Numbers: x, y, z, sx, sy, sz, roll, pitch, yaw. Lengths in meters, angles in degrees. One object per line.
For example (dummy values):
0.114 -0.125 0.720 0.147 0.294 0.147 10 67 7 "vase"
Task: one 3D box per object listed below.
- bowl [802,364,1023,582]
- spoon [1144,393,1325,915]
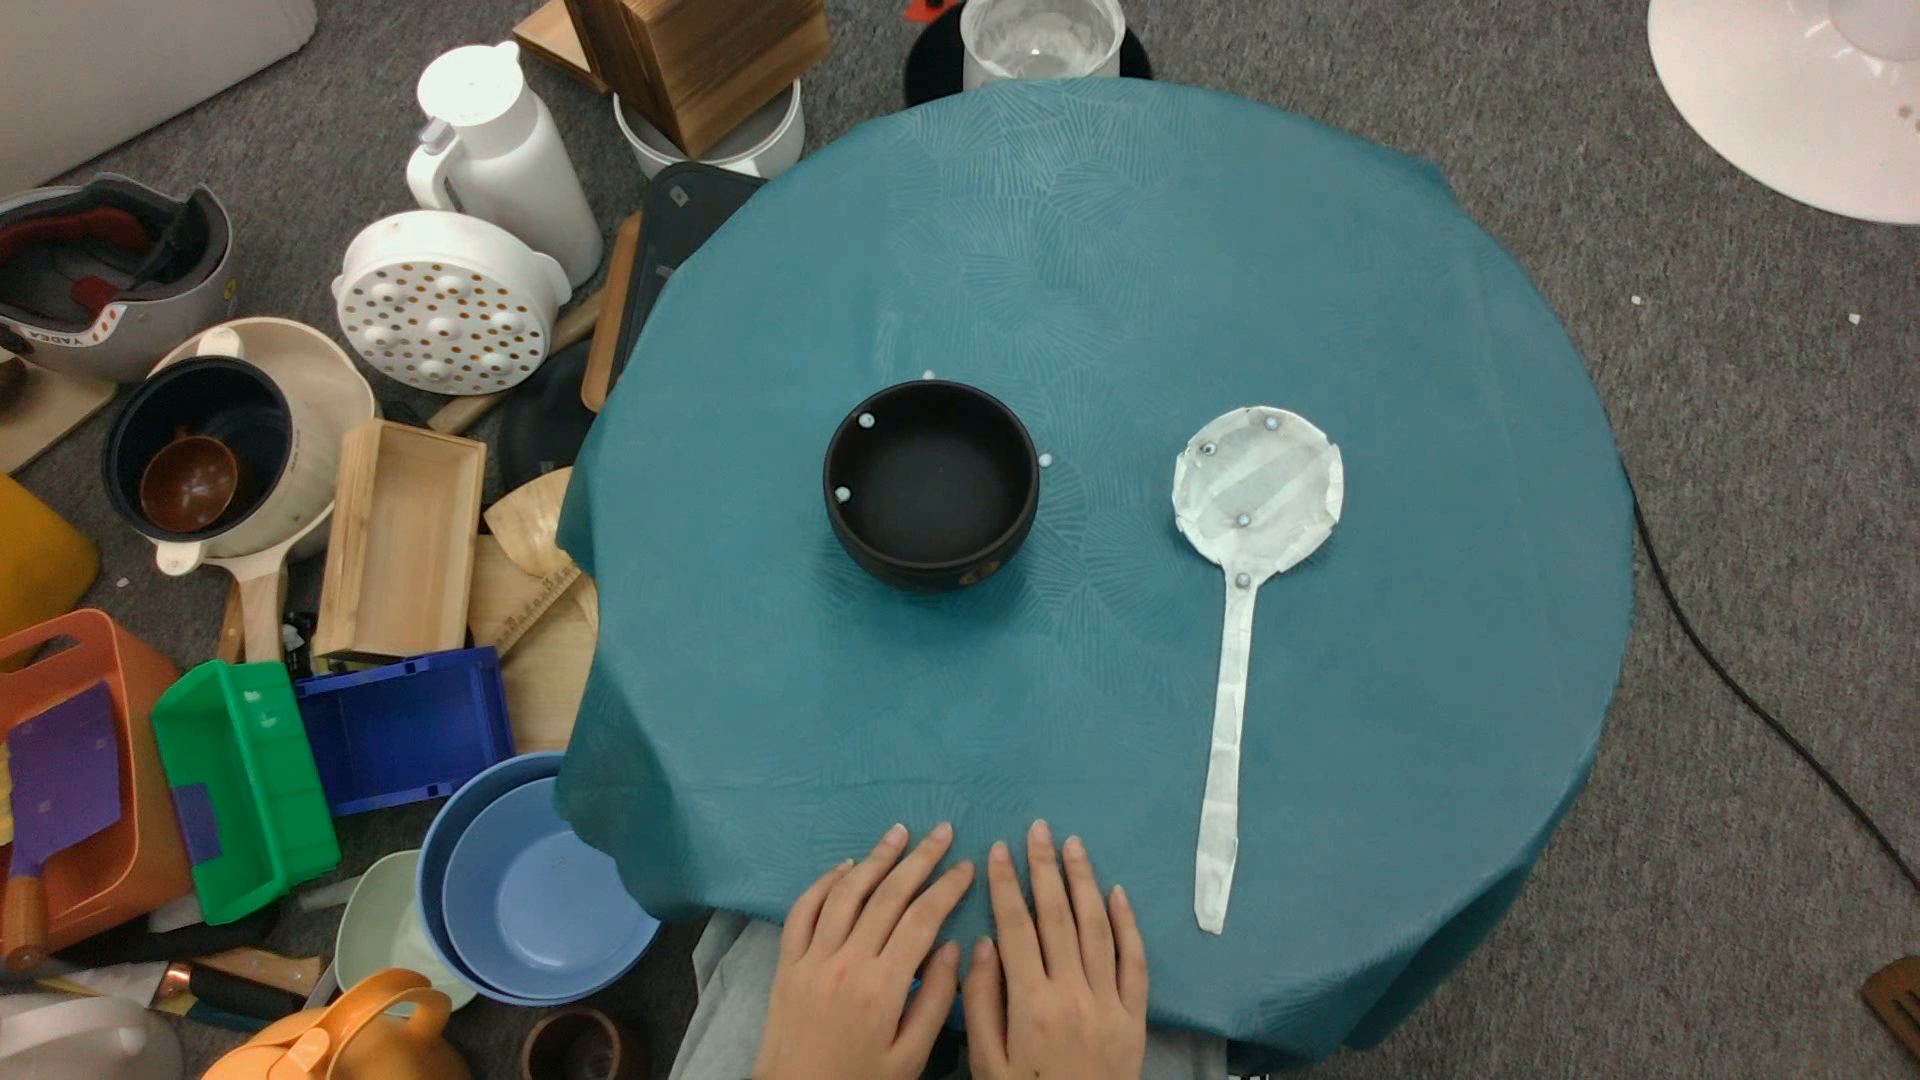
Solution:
-0.025 -0.030 0.755 0.118 0.069 0.118 0 66 0 "bowl"
0.132 0.054 0.729 0.100 0.059 0.278 10 66 6 "spoon"
